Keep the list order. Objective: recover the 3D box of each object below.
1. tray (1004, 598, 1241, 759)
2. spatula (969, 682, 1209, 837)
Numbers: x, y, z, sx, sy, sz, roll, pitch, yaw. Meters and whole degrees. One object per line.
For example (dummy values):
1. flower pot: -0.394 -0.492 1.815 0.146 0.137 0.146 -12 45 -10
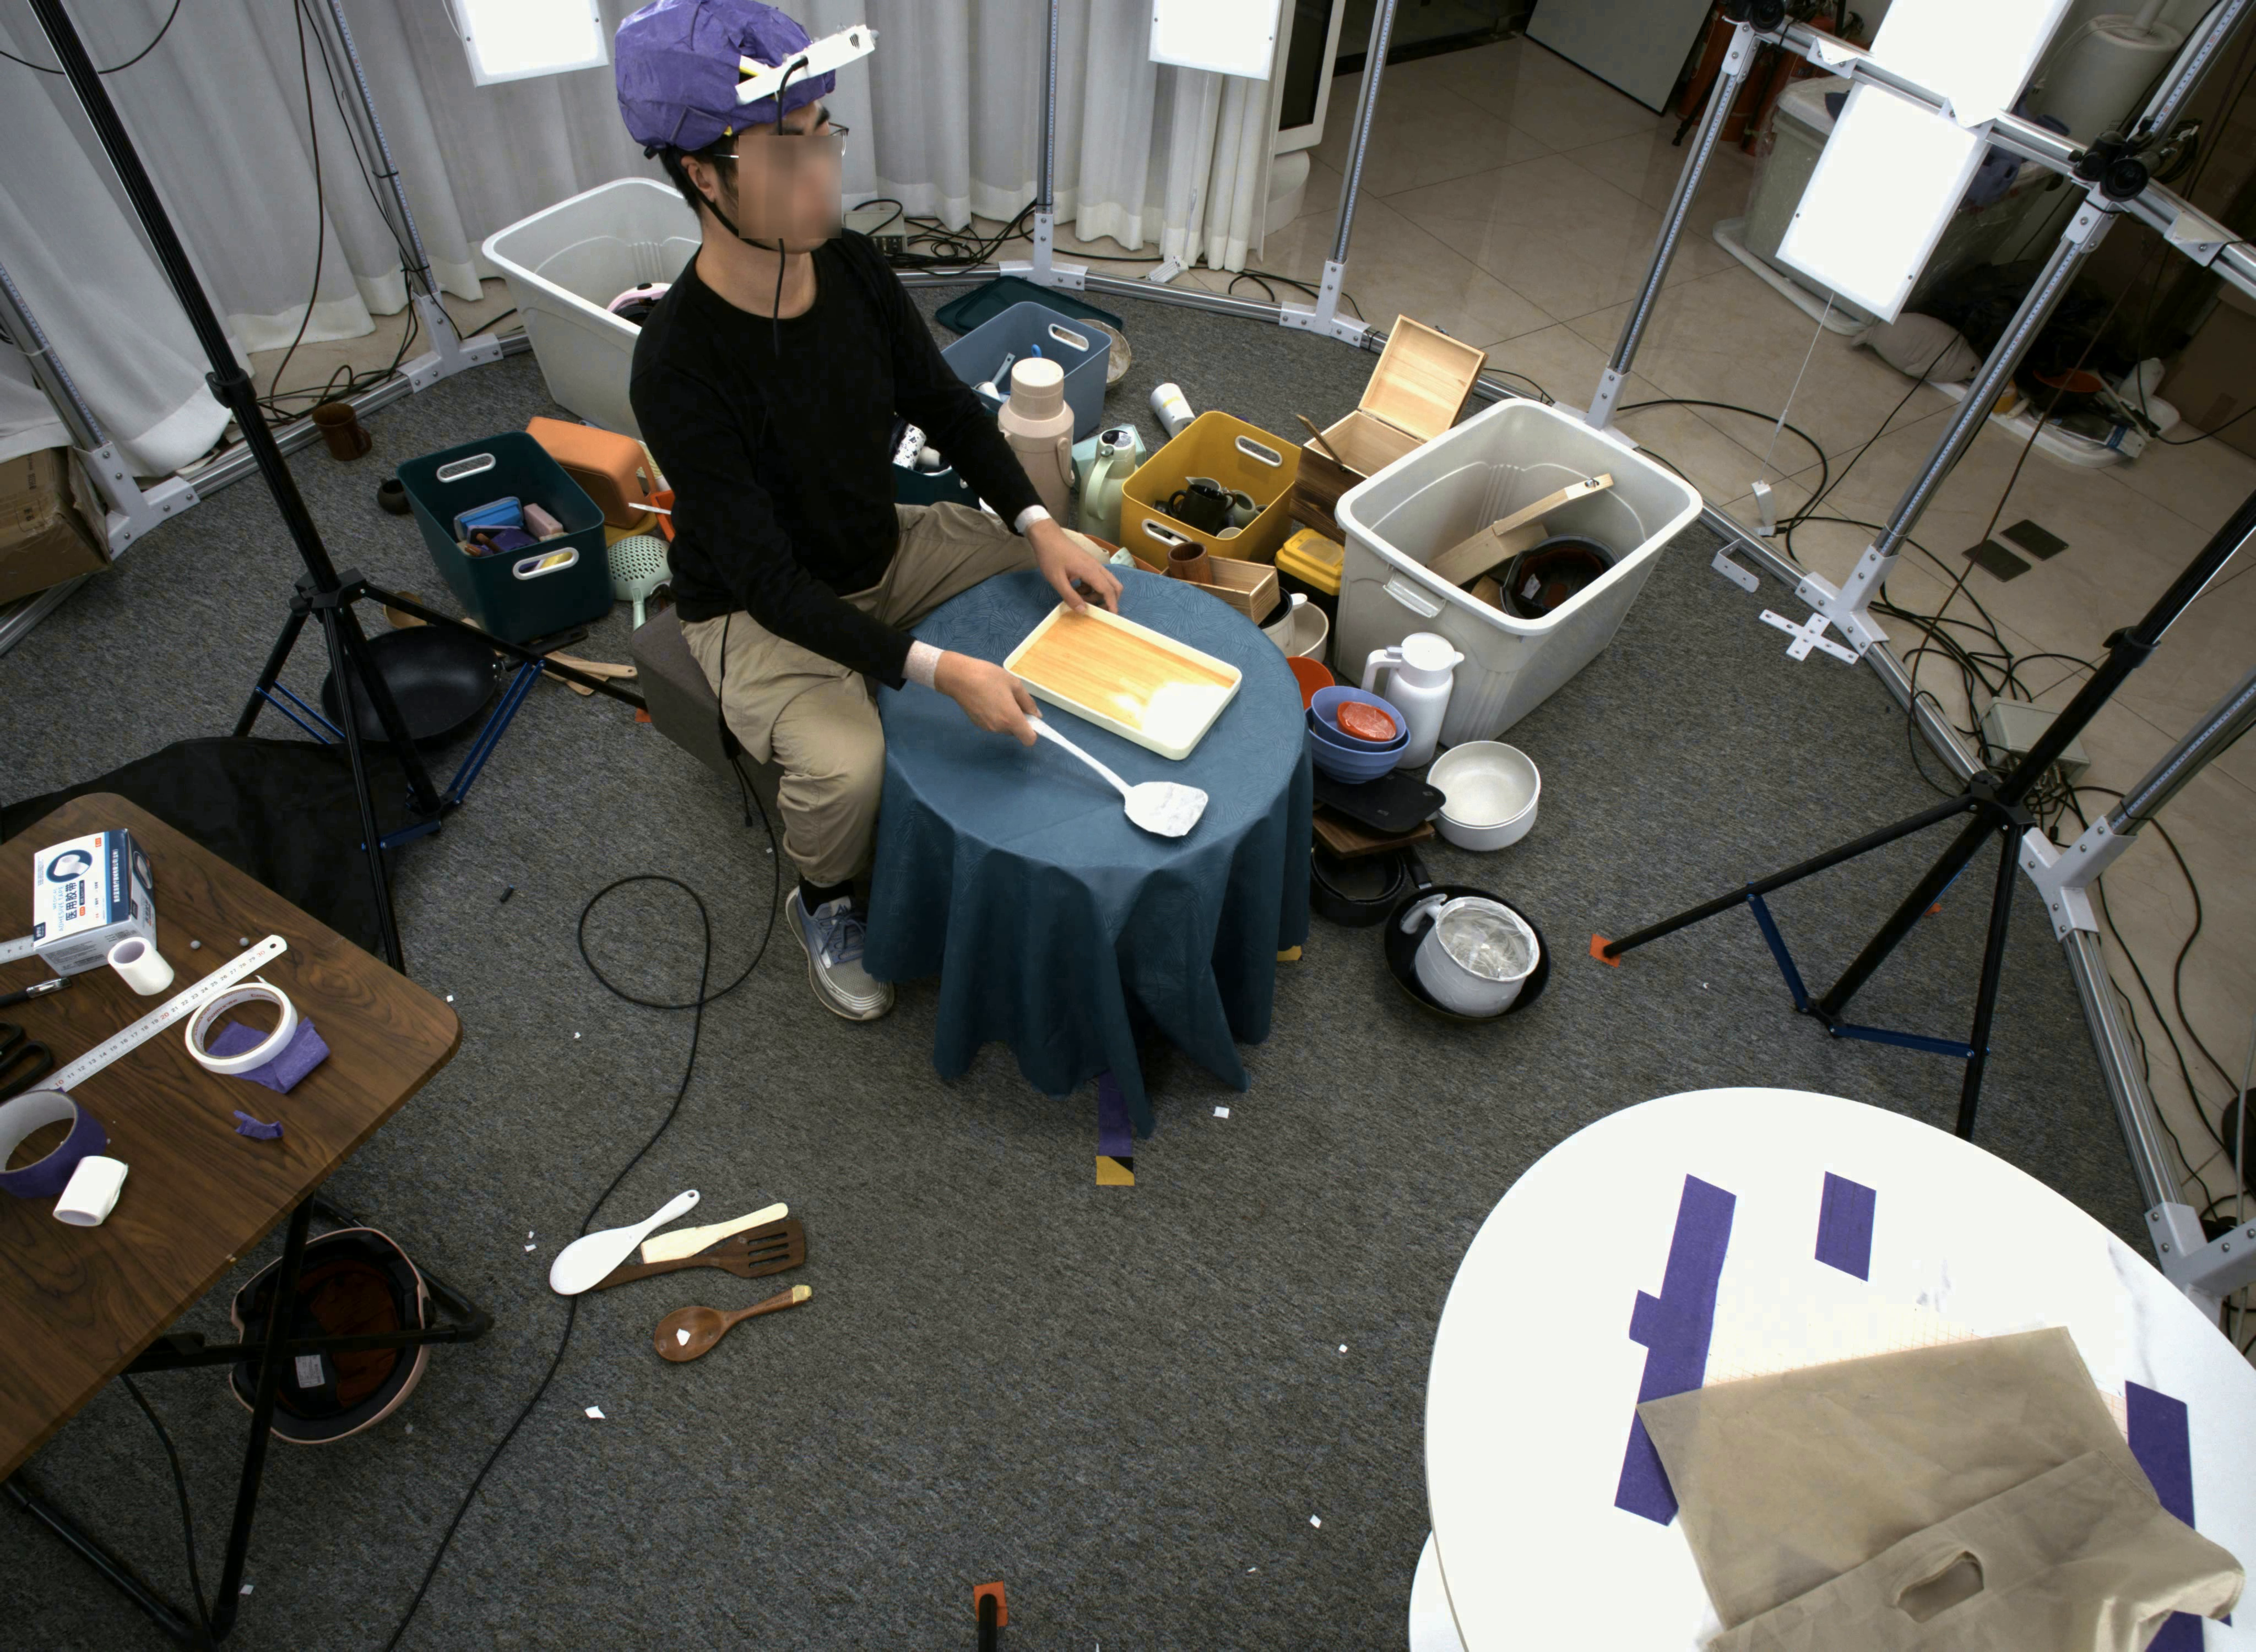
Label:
1. tray: -0.008 -0.216 1.839 0.303 0.027 0.194 26 53 18
2. spatula: -0.062 -0.099 1.696 0.366 0.044 0.100 33 54 6
